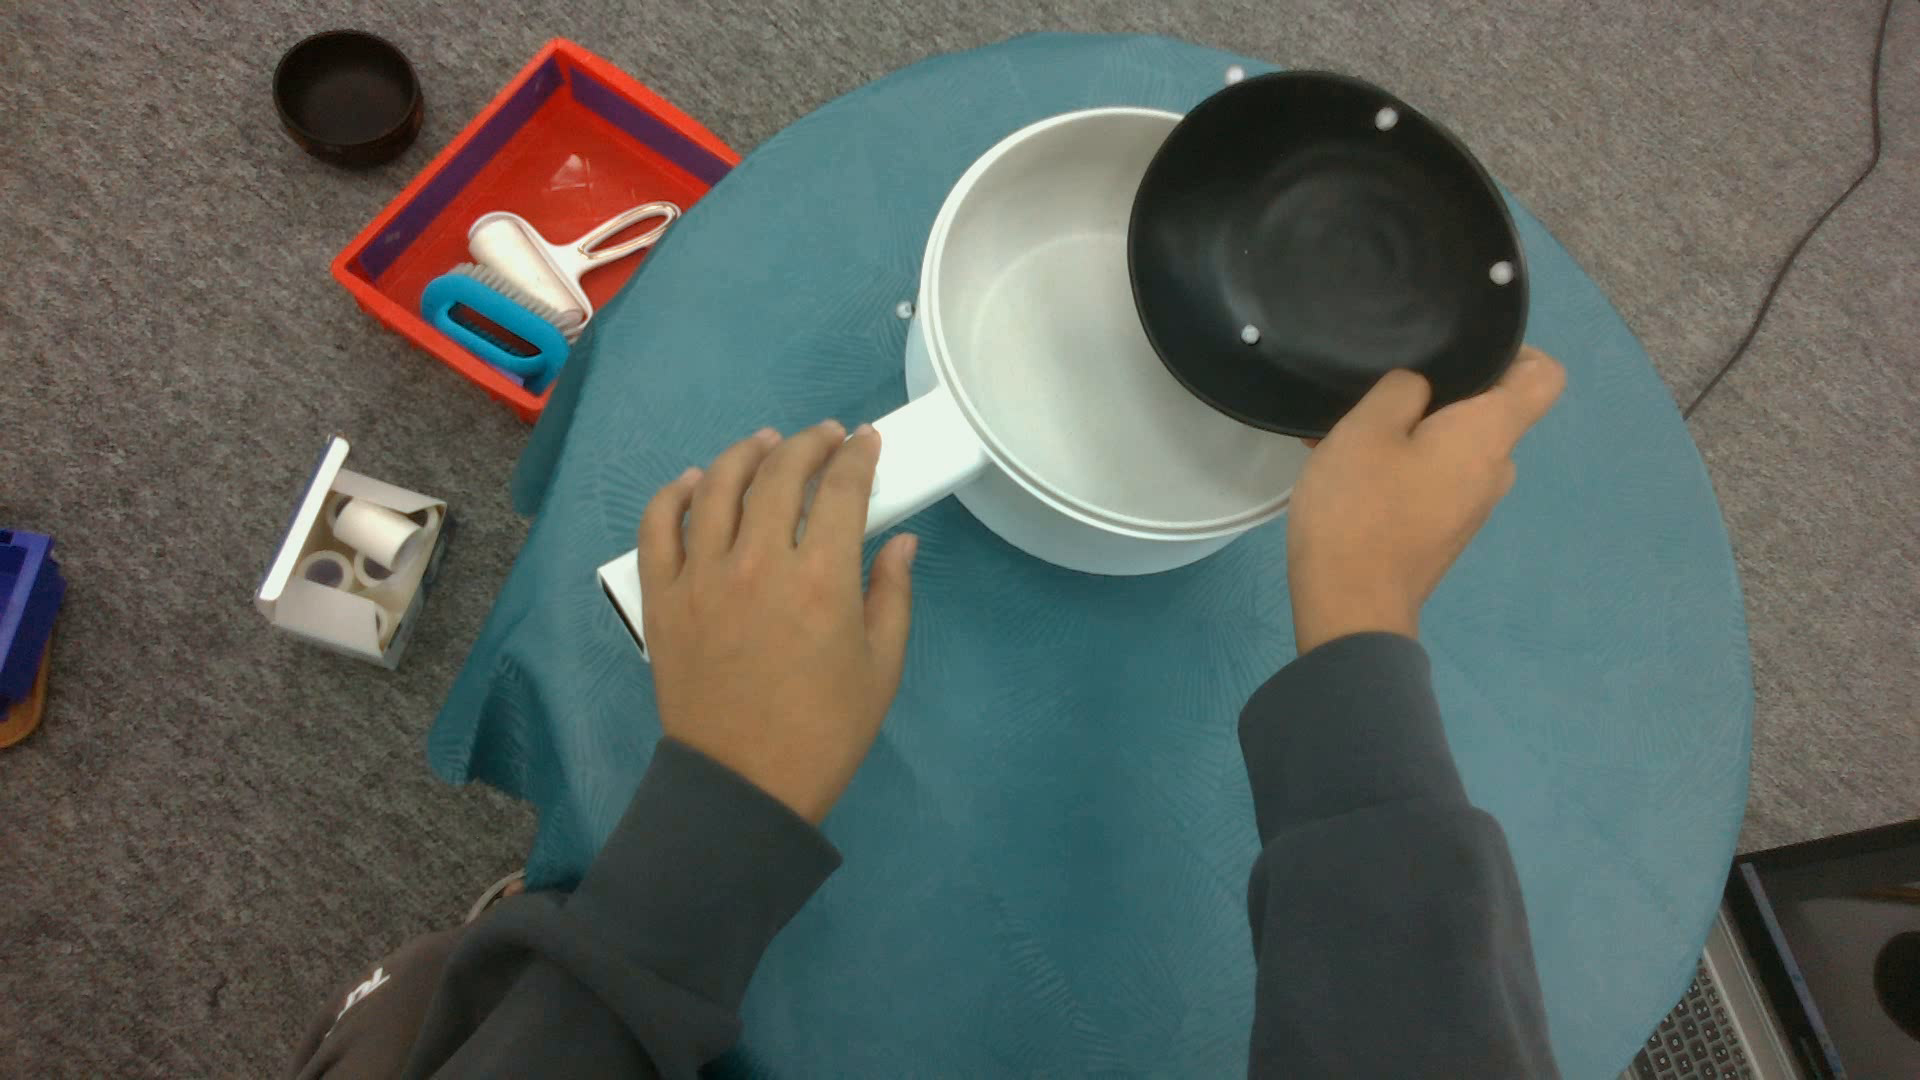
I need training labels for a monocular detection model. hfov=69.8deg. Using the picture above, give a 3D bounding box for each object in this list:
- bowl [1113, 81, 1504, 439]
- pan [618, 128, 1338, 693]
[{"bbox_3d":[0.148,-0.116,0.571,0.170,0.137,0.067,28,28,31],"label":"bowl"},{"bbox_3d":[0.011,-0.040,0.628,0.356,0.102,0.201,-34,85,-16],"label":"pan"}]
